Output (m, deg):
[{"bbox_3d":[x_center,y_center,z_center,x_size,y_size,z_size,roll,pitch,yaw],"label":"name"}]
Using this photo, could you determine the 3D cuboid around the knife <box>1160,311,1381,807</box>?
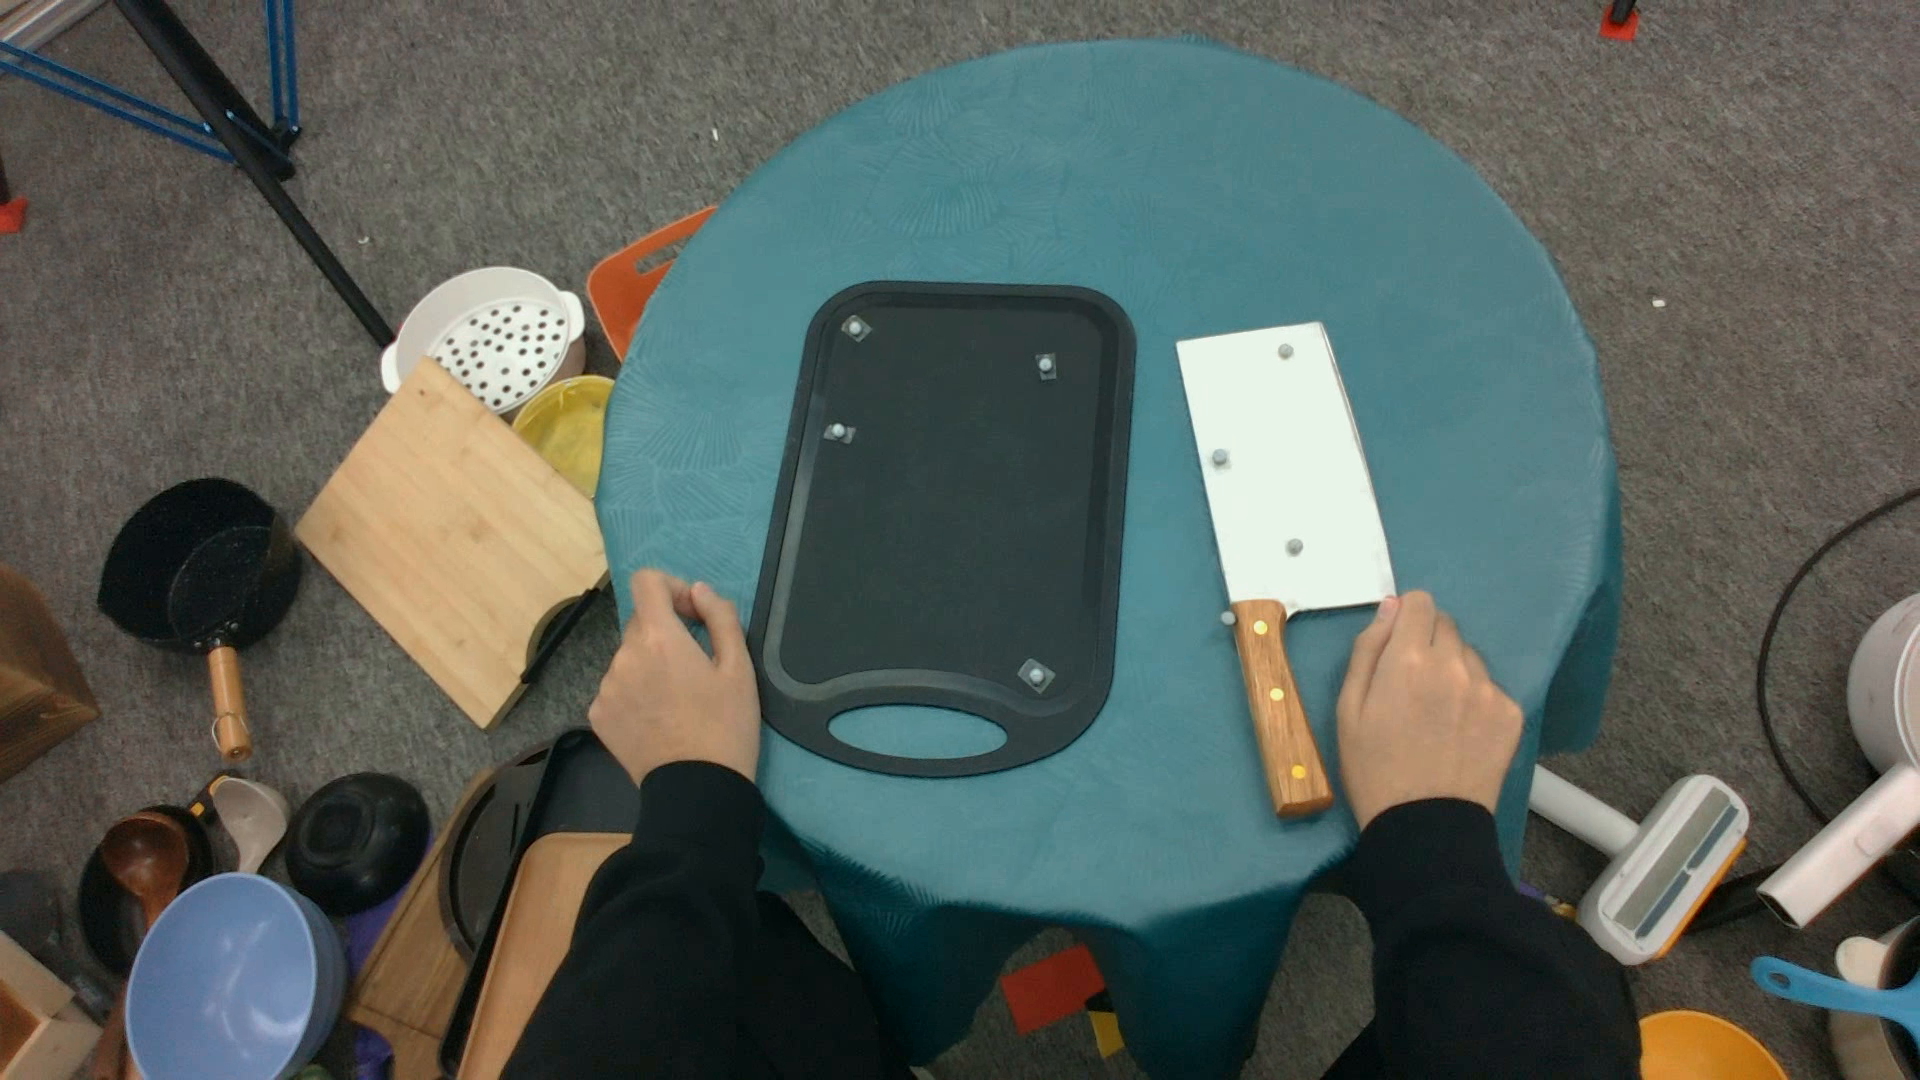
[{"bbox_3d":[0.181,-0.004,0.767,0.093,0.021,0.307,-8,61,1],"label":"knife"}]

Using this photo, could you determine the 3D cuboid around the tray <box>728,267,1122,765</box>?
[{"bbox_3d":[-0.016,-0.027,0.805,0.211,0.010,0.326,3,64,8],"label":"tray"}]
